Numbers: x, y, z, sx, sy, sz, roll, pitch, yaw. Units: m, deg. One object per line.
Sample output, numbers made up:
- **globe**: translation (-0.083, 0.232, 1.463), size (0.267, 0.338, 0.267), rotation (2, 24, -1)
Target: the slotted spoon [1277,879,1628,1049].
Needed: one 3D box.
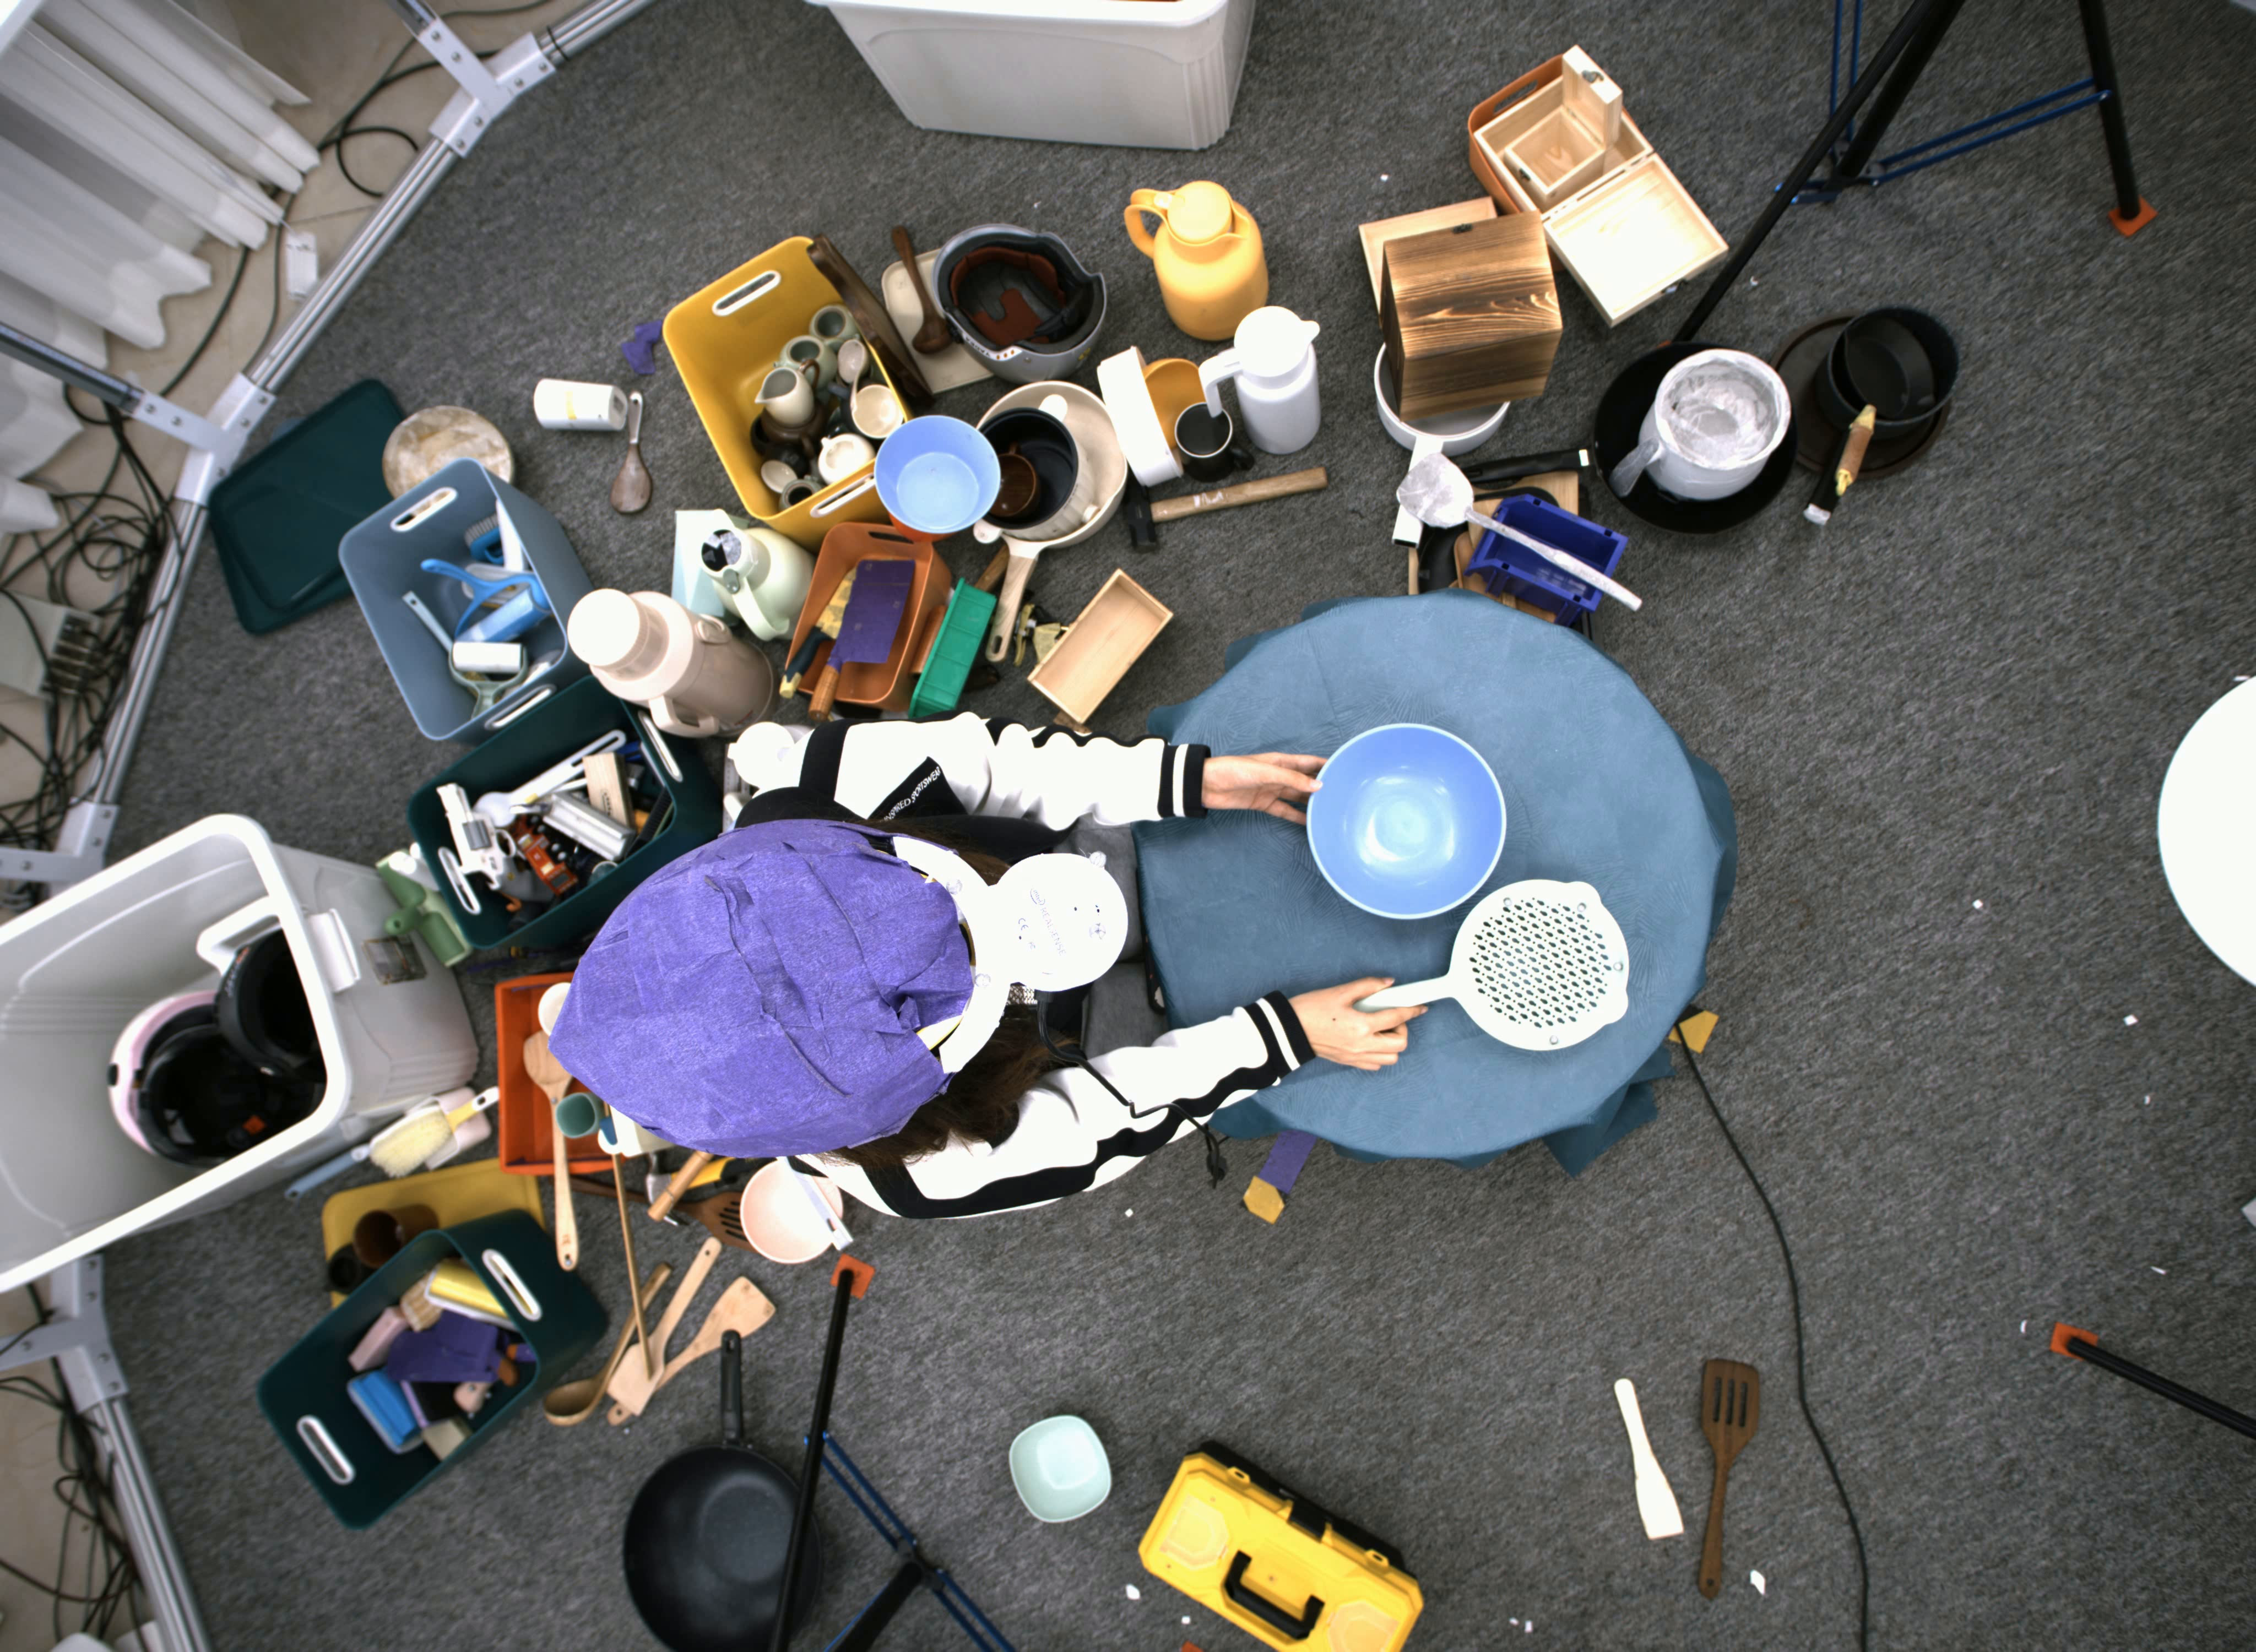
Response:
- **slotted spoon**: translation (0.324, 0.162, 1.416), size (0.361, 0.075, 0.168), rotation (-15, 82, 11)

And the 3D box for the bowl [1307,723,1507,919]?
- **bowl**: translation (0.284, -0.002, 1.414), size (0.197, 0.095, 0.195), rotation (-1, 87, 10)
